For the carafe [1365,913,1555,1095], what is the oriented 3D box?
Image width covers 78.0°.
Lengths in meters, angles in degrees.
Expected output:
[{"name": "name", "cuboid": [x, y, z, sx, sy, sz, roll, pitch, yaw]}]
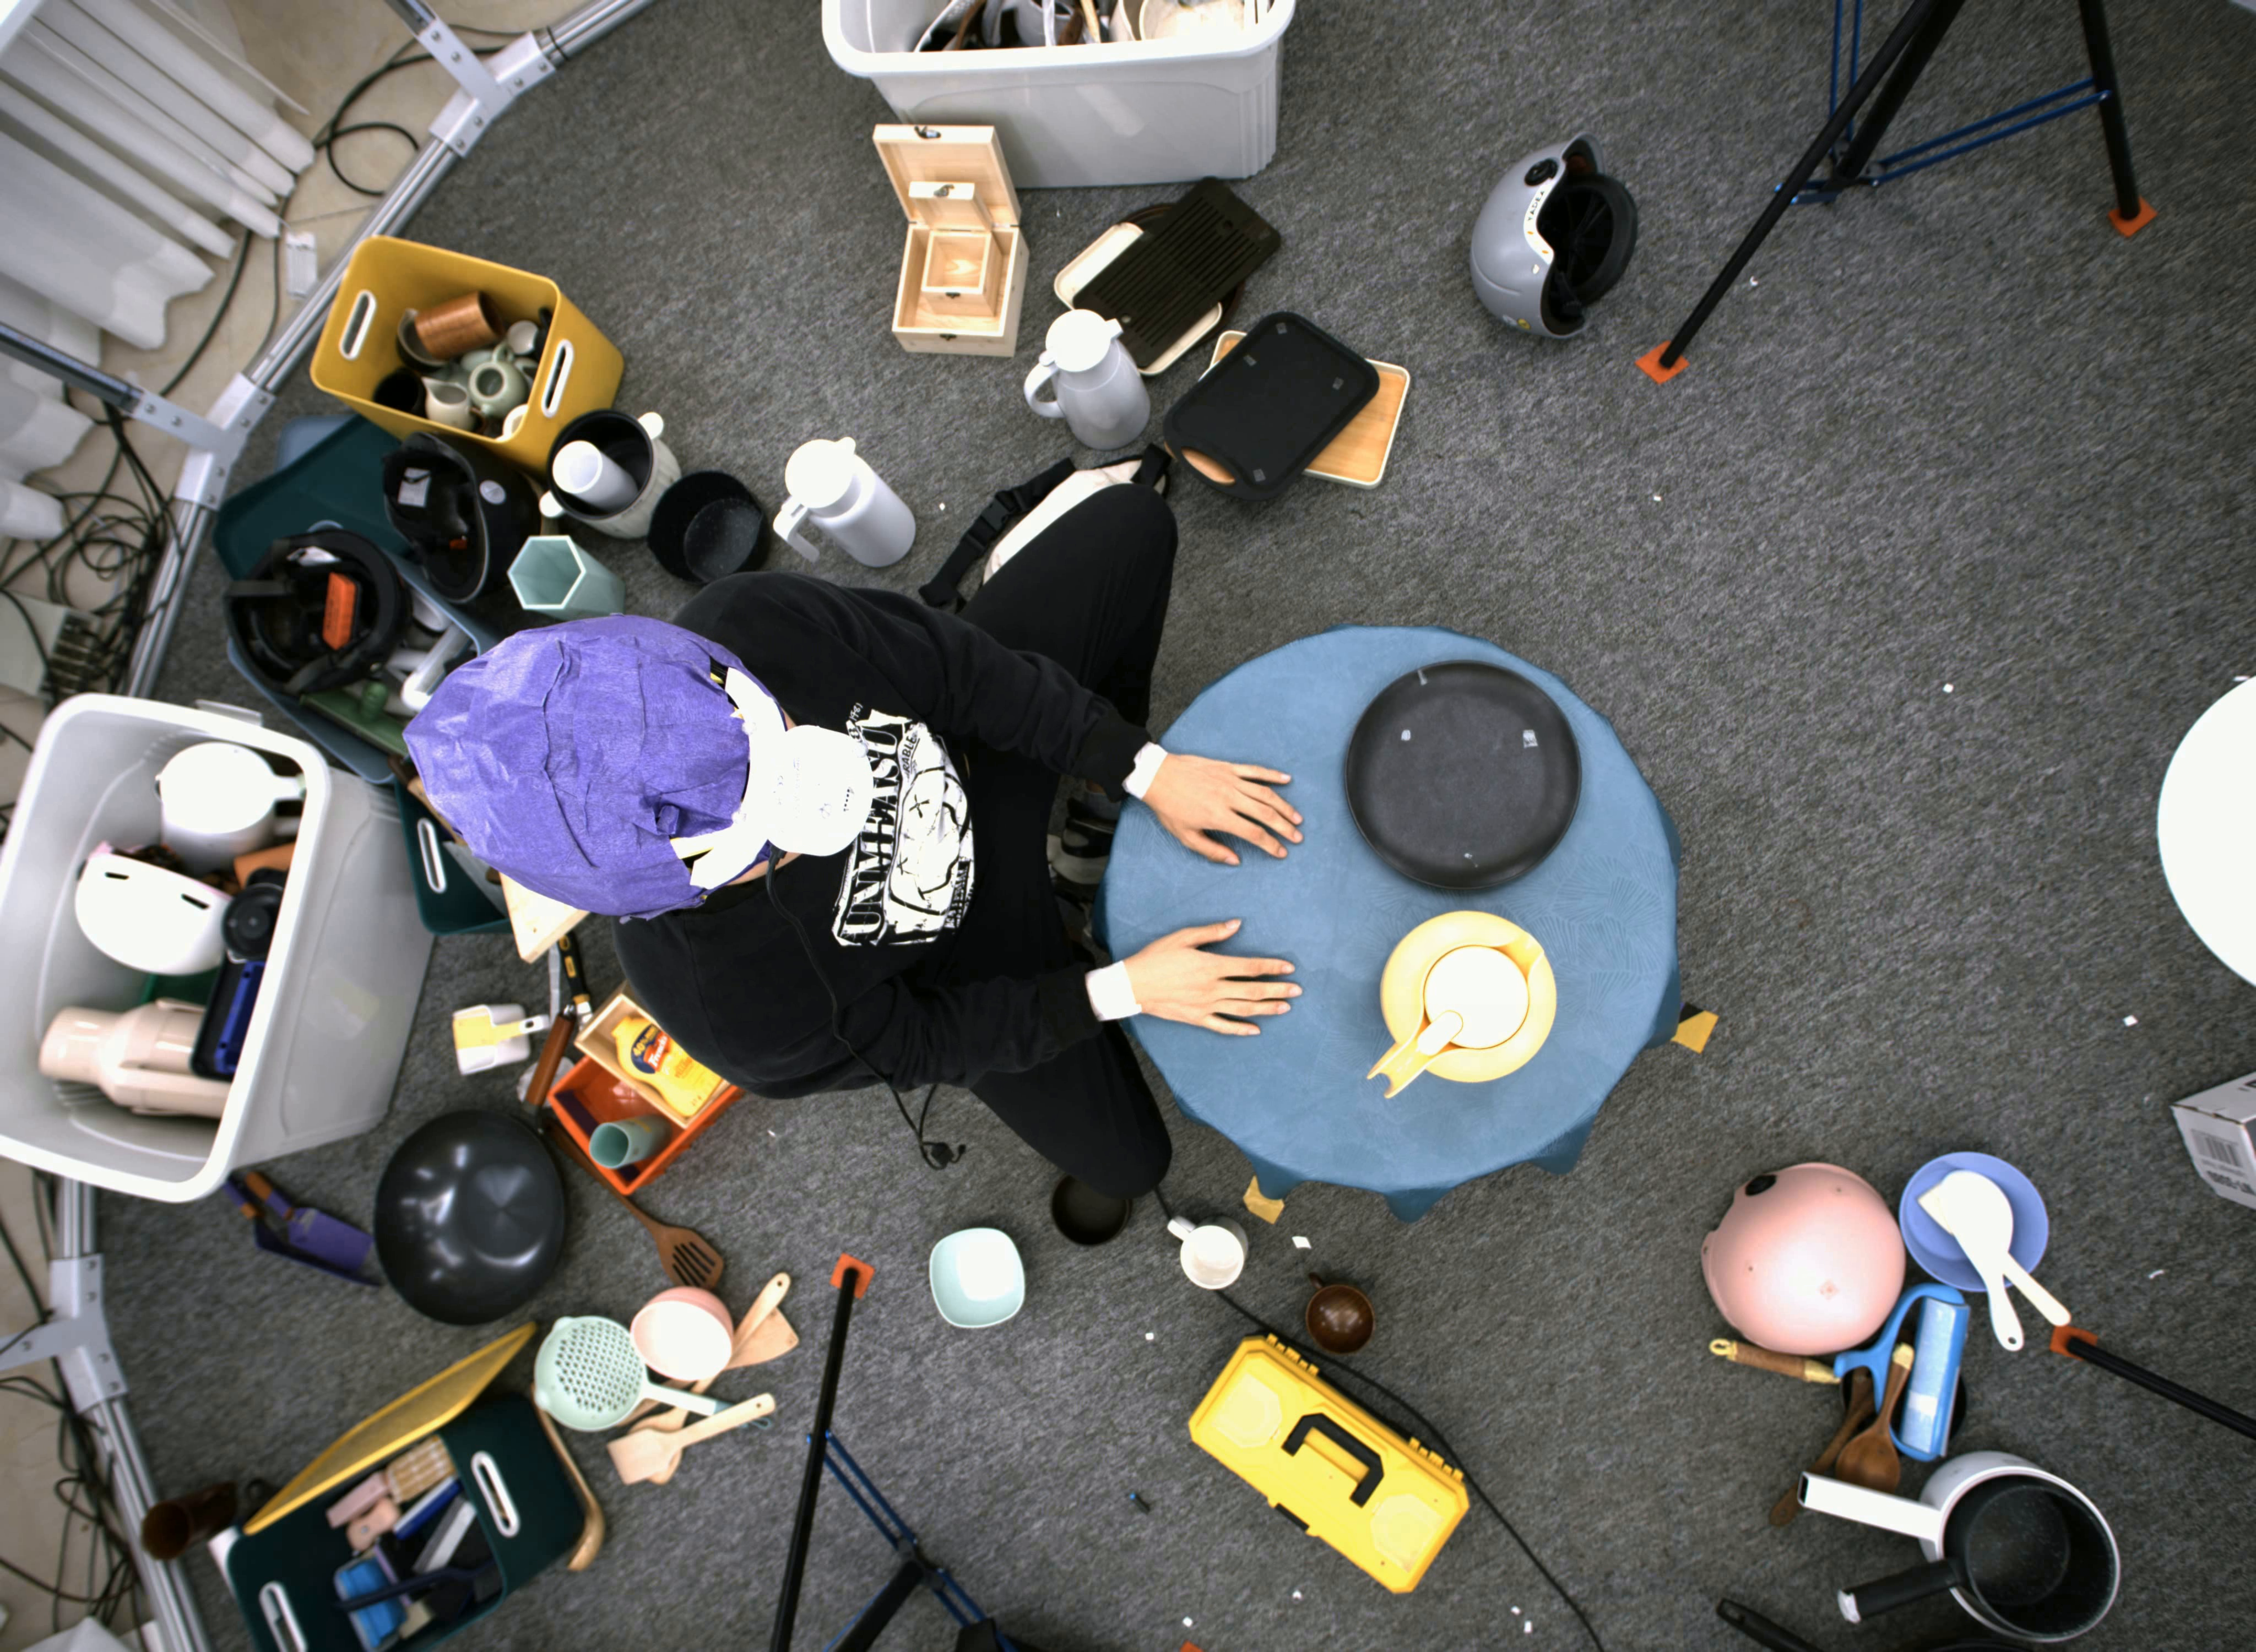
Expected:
[{"name": "carafe", "cuboid": [0.307, 0.174, 1.316, 0.203, 0.261, 0.162, -42, 77, 3]}]

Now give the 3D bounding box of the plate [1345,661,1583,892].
[{"name": "plate", "cuboid": [0.350, -0.054, 1.440, 0.245, 0.023, 0.243, -1, 87, 11]}]
